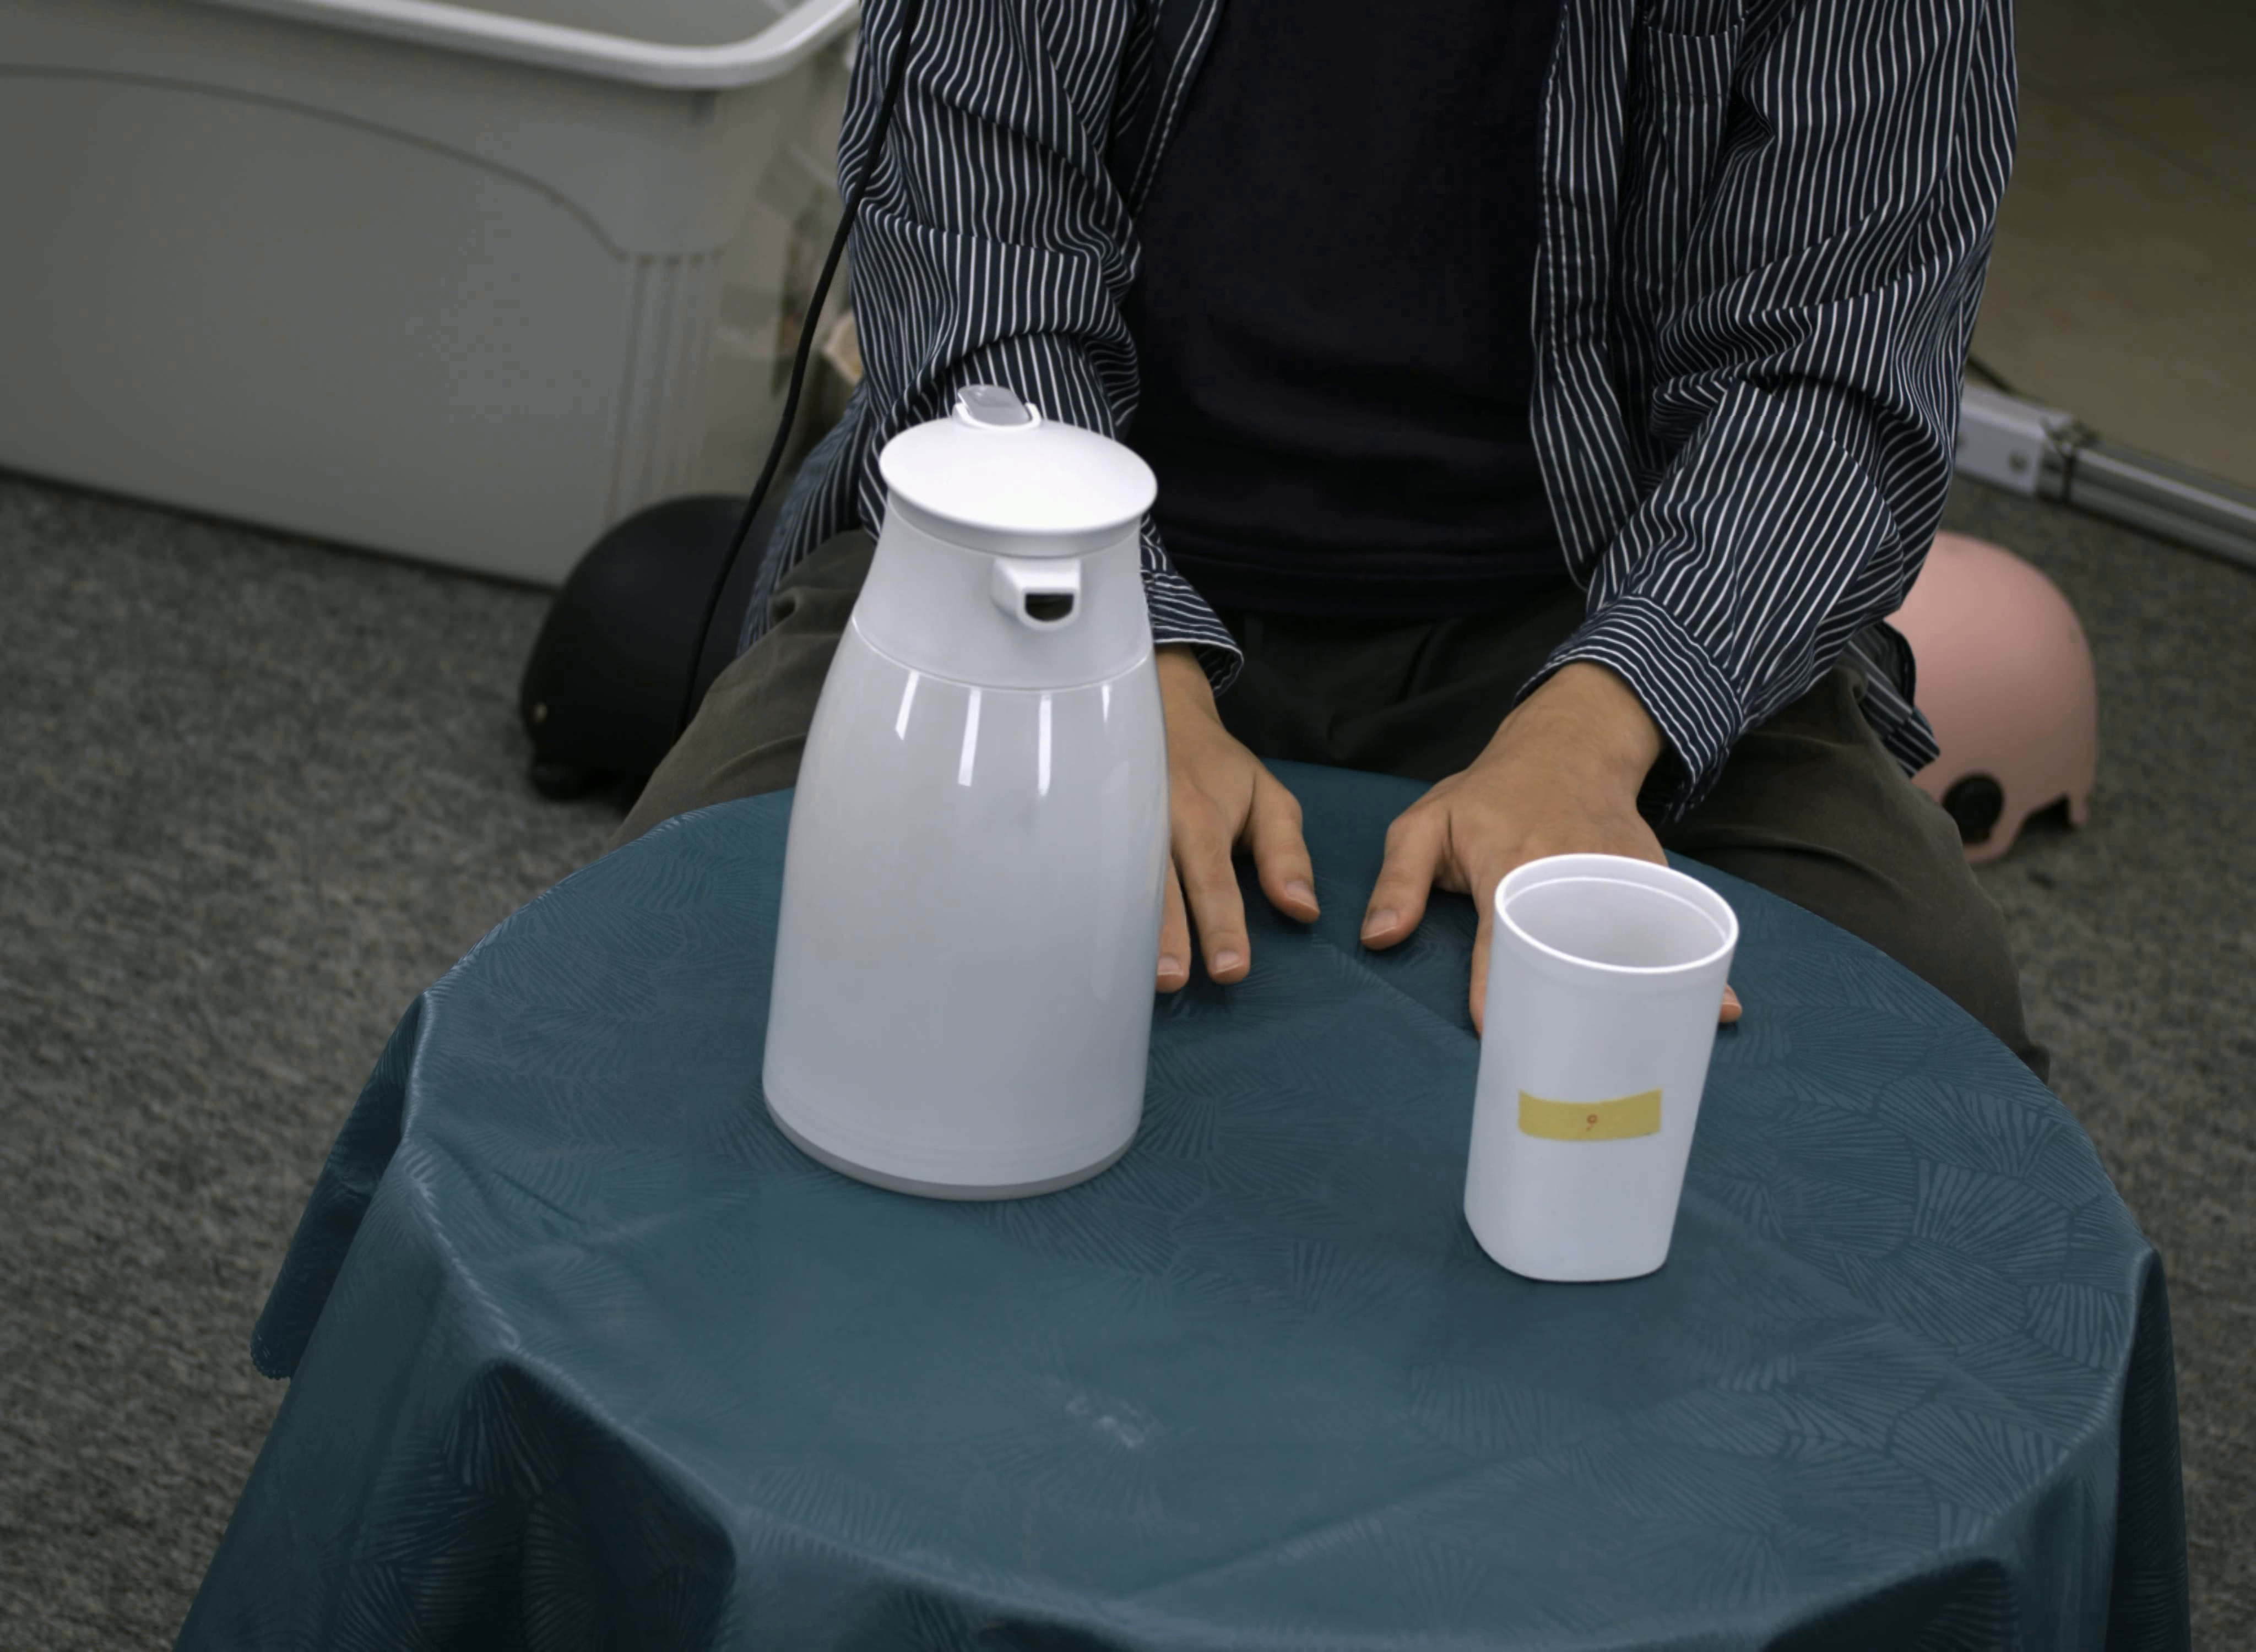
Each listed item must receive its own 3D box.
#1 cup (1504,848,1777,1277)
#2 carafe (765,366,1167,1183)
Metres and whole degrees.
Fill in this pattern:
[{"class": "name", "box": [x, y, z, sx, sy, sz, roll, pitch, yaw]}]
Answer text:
[{"class": "cup", "box": [0.168, 0.081, 1.775, 0.081, 0.125, 0.082, 4, 26, -3]}, {"class": "carafe", "box": [-0.056, -0.028, 1.801, 0.132, 0.248, 0.169, -5, 31, -18]}]
